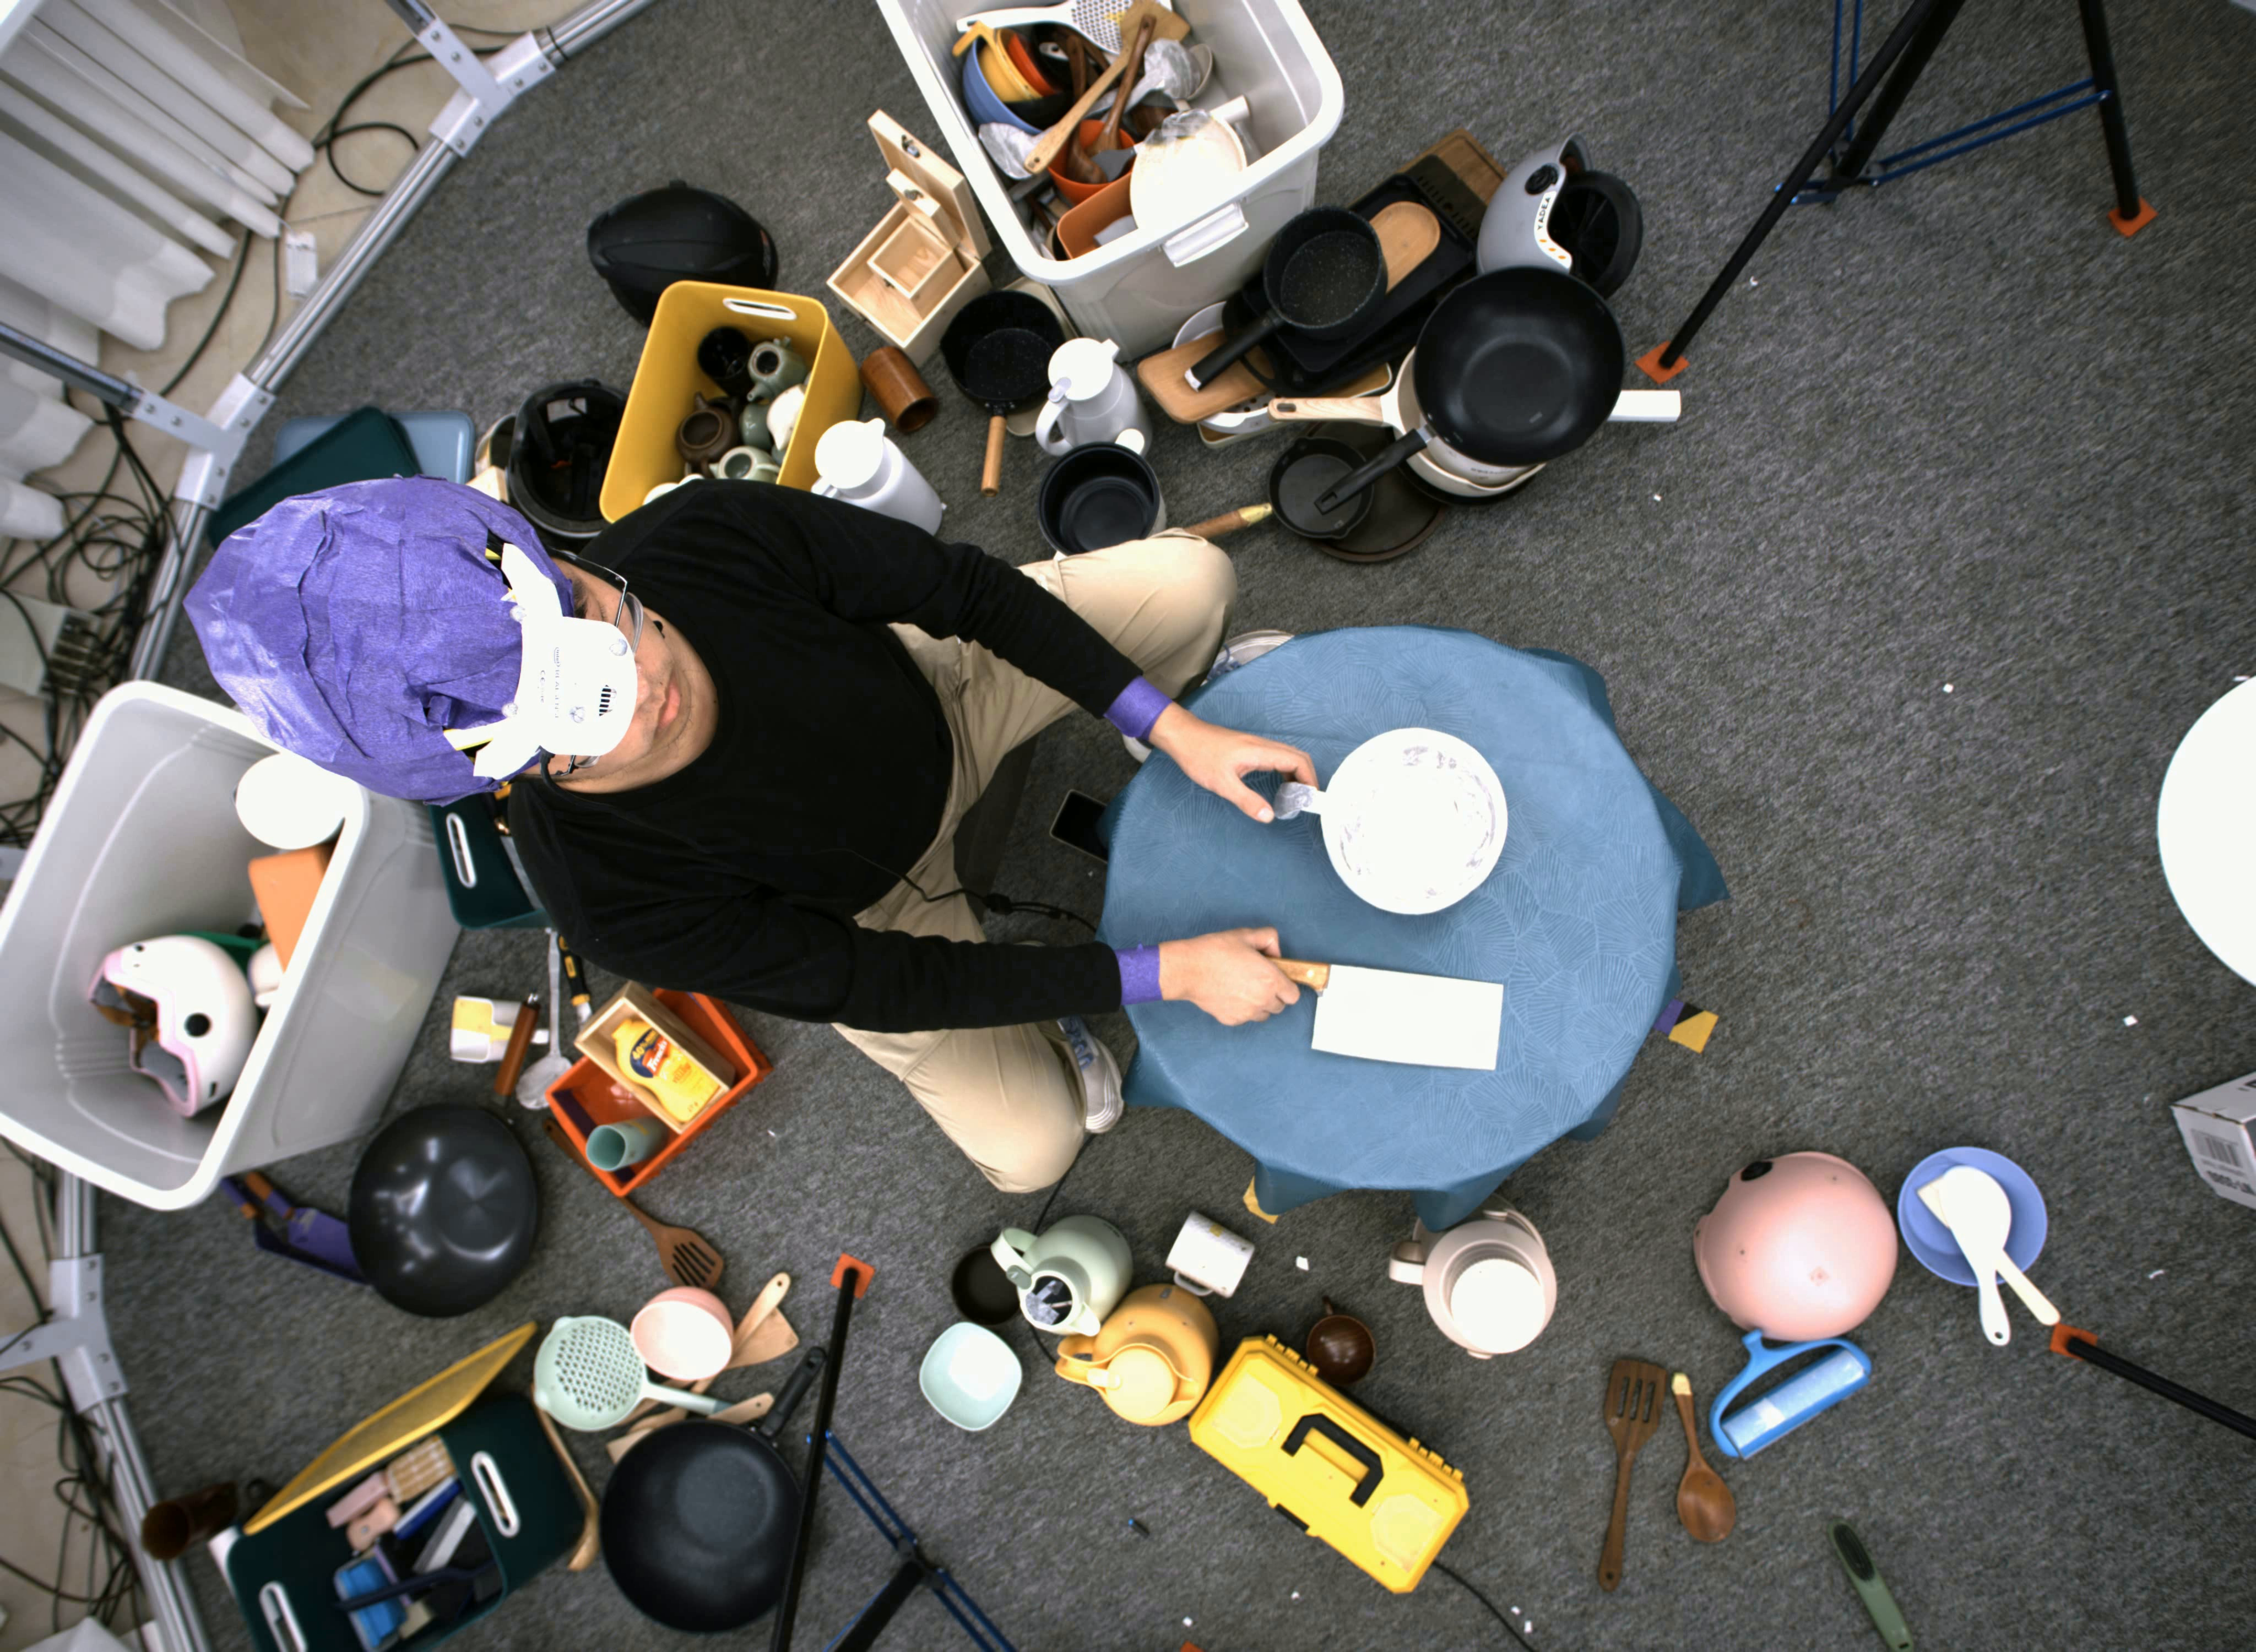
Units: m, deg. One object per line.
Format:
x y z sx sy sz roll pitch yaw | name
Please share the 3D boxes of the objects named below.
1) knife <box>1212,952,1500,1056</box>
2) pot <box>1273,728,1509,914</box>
0.235 0.187 1.447 0.306 0.021 0.092 7 87 6 | knife
0.260 -0.007 1.396 0.234 0.137 0.178 11 88 10 | pot
